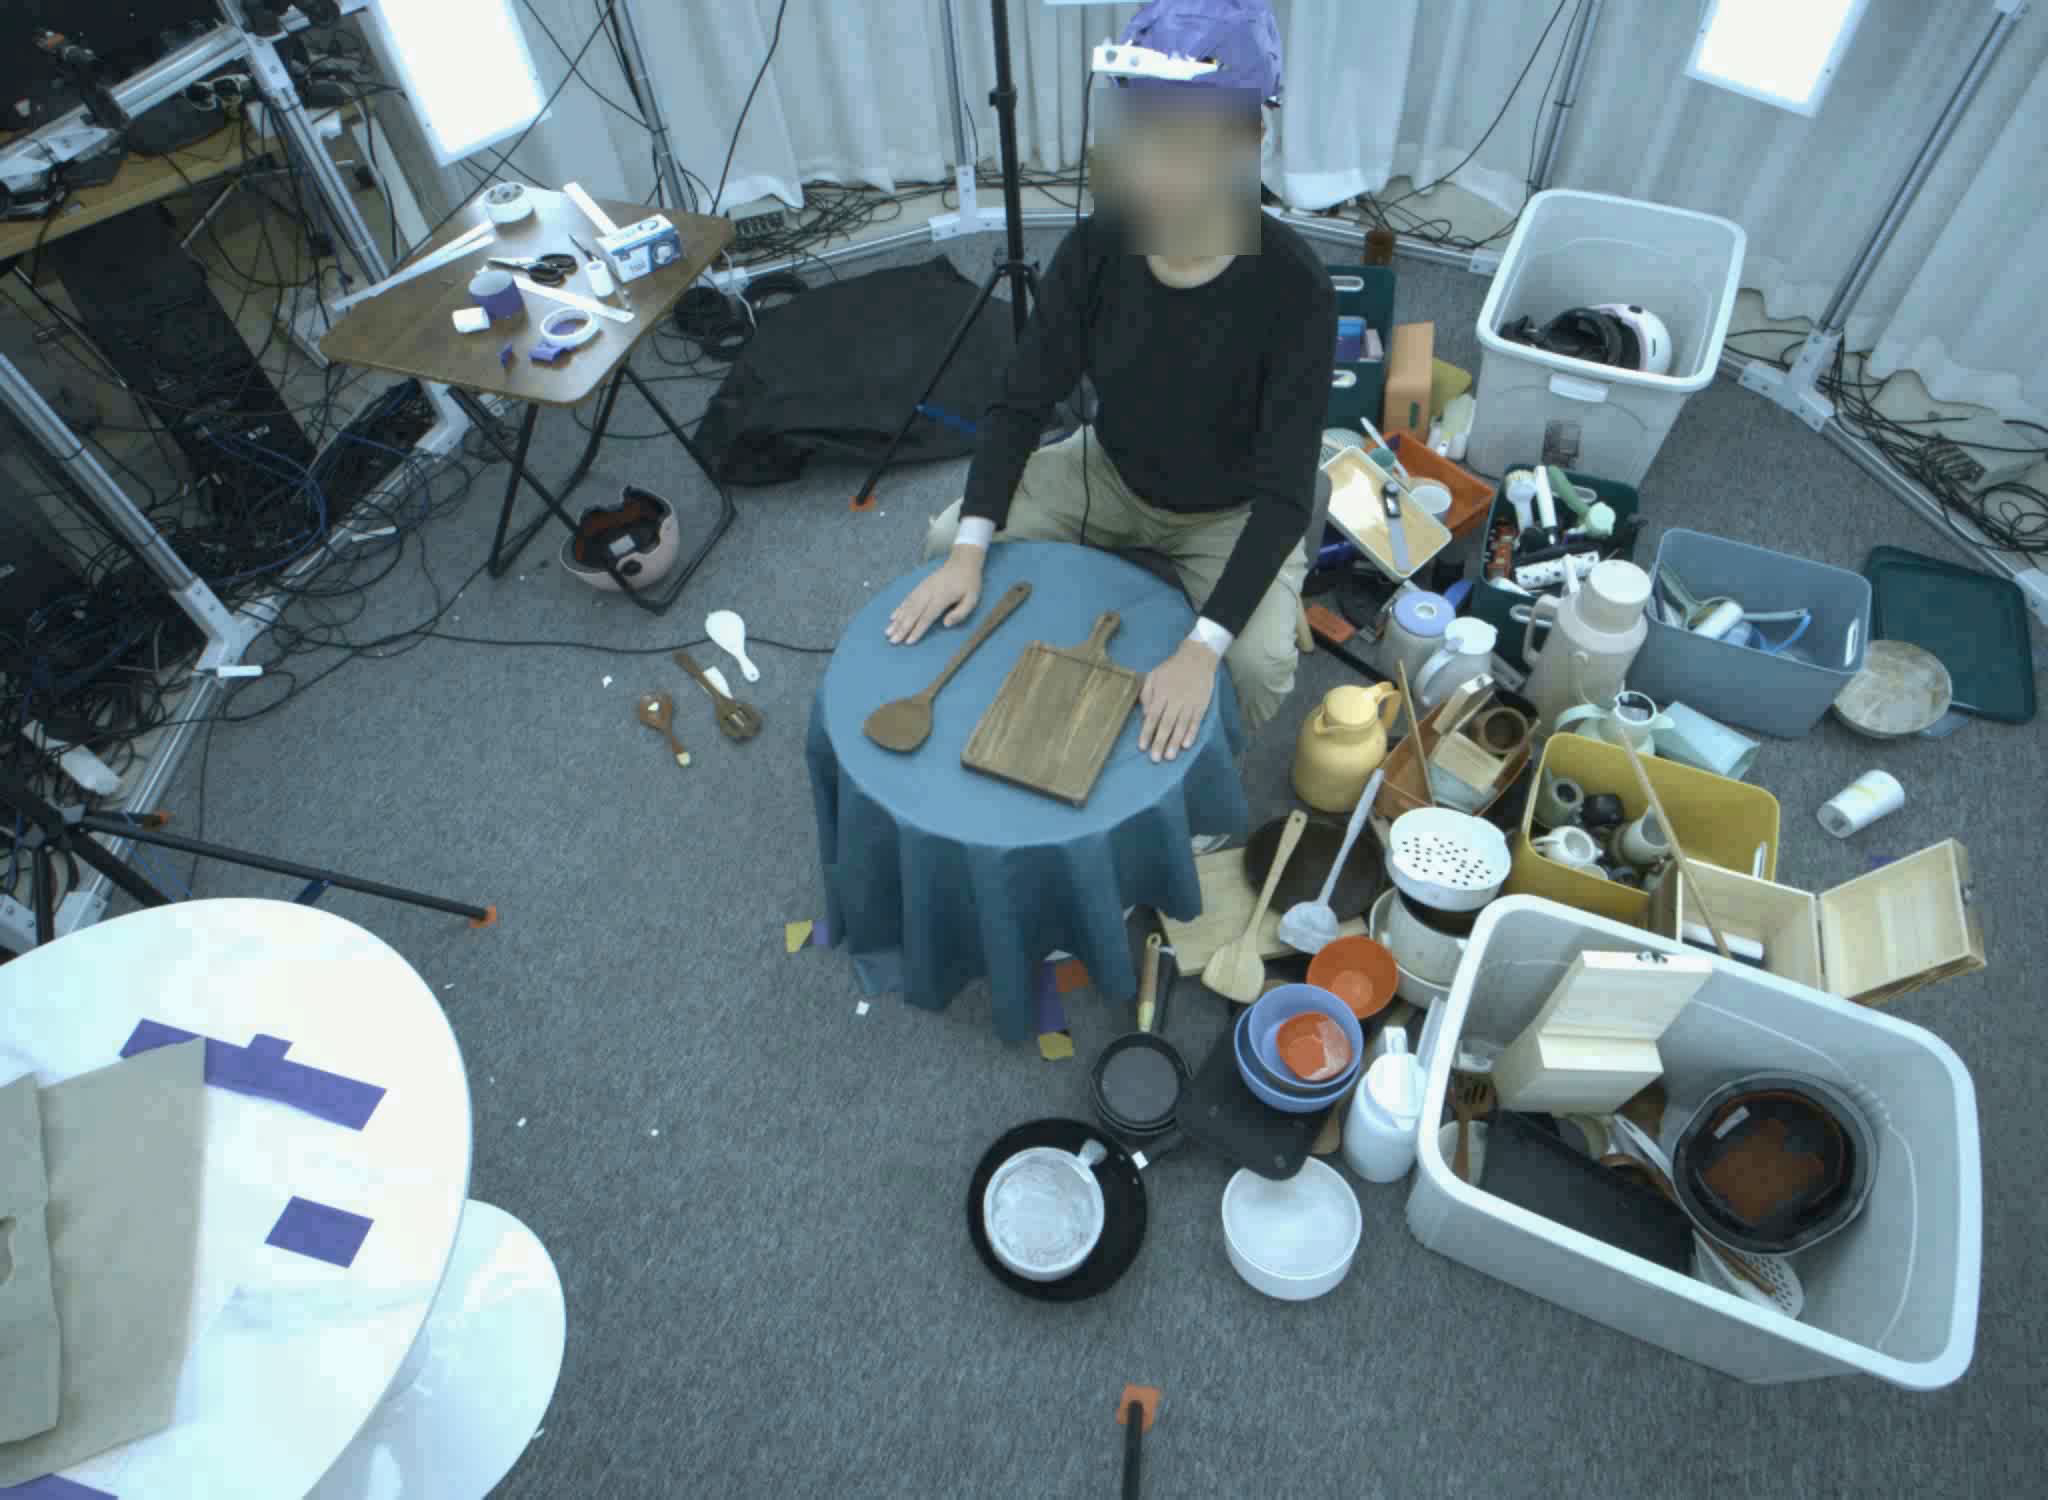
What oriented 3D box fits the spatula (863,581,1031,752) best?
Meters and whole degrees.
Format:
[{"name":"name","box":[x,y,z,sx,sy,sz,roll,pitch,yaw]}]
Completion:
[{"name":"spatula","box":[-0.102,-0.139,1.881,0.095,0.016,0.387,28,60,19]}]

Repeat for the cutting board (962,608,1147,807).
[{"name":"cutting board","box":[0.067,-0.082,1.831,0.199,0.023,0.352,19,58,14]}]
